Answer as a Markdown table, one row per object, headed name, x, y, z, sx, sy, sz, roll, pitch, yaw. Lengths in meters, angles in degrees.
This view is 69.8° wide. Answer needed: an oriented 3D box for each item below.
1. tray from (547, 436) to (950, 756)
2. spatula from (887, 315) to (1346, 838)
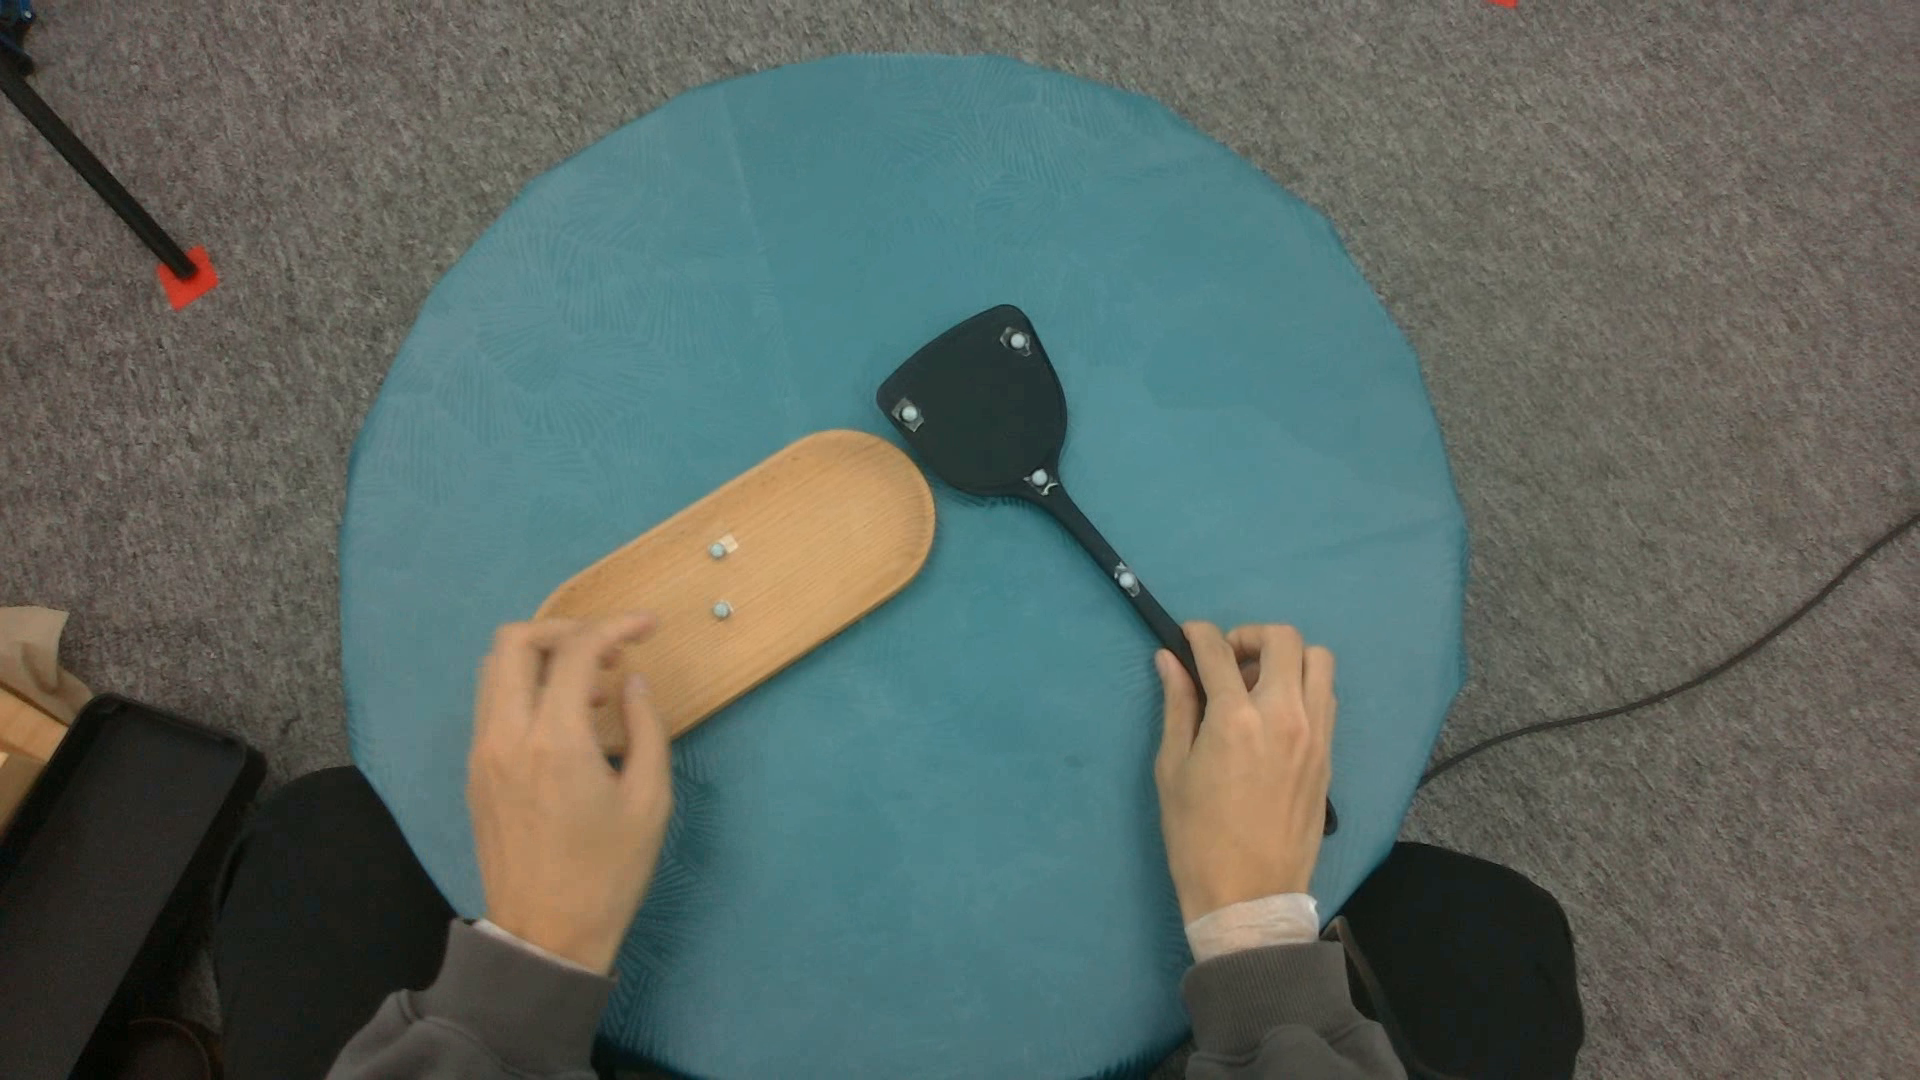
| name | x | y | z | sx | sy | sz | roll | pitch | yaw |
| --- | --- | --- | --- | --- | --- | --- | --- | --- | --- |
| tray | -0.110 | 0.028 | 0.732 | 0.231 | 0.020 | 0.102 | -33 | 74 | -13 |
| spatula | 0.092 | 0.023 | 0.725 | 0.100 | 0.040 | 0.326 | -36 | 74 | -13 |
